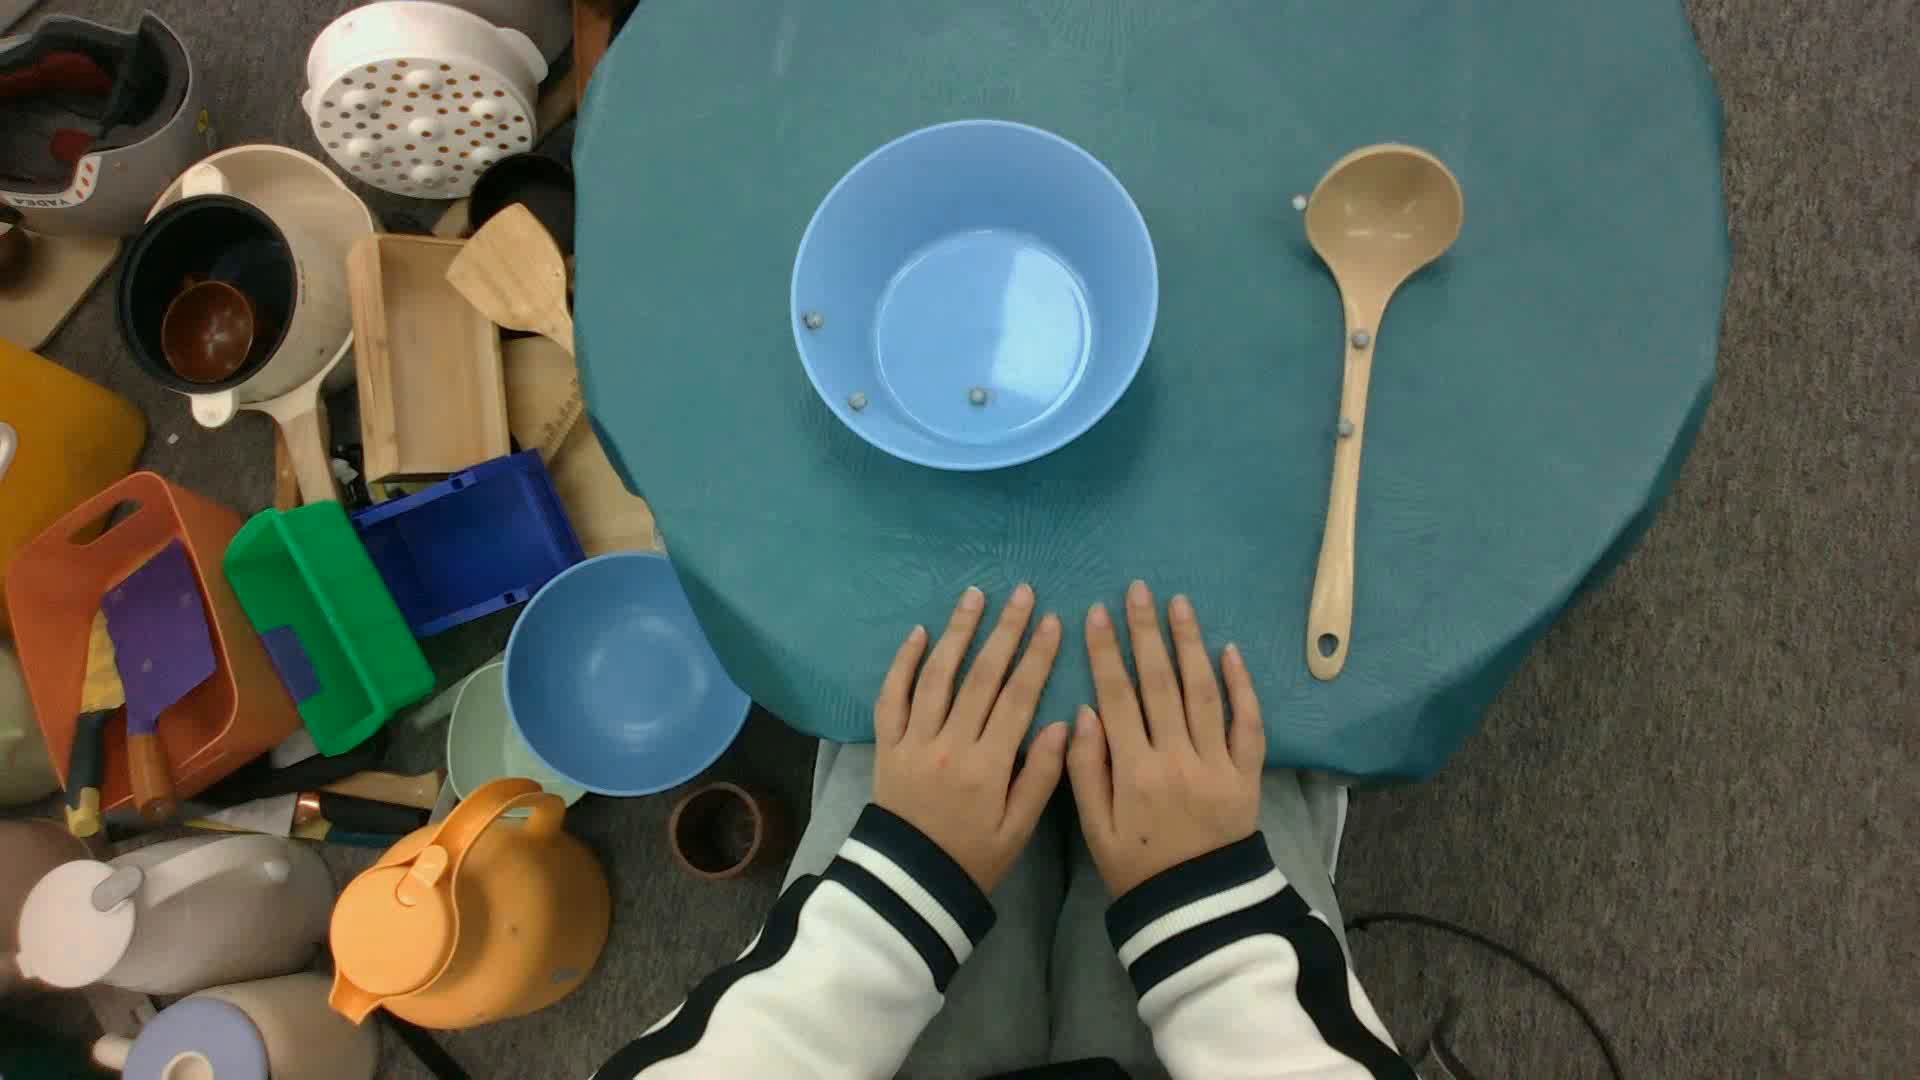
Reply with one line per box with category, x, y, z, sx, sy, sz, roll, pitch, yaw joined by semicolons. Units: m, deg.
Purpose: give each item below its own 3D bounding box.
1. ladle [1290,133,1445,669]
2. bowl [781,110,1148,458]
ladle;0.187;-0.069;0.653;0.072;0.072;0.255;5;78;7
bowl;0.005;-0.117;0.683;0.176;0.070;0.176;-1;77;6
